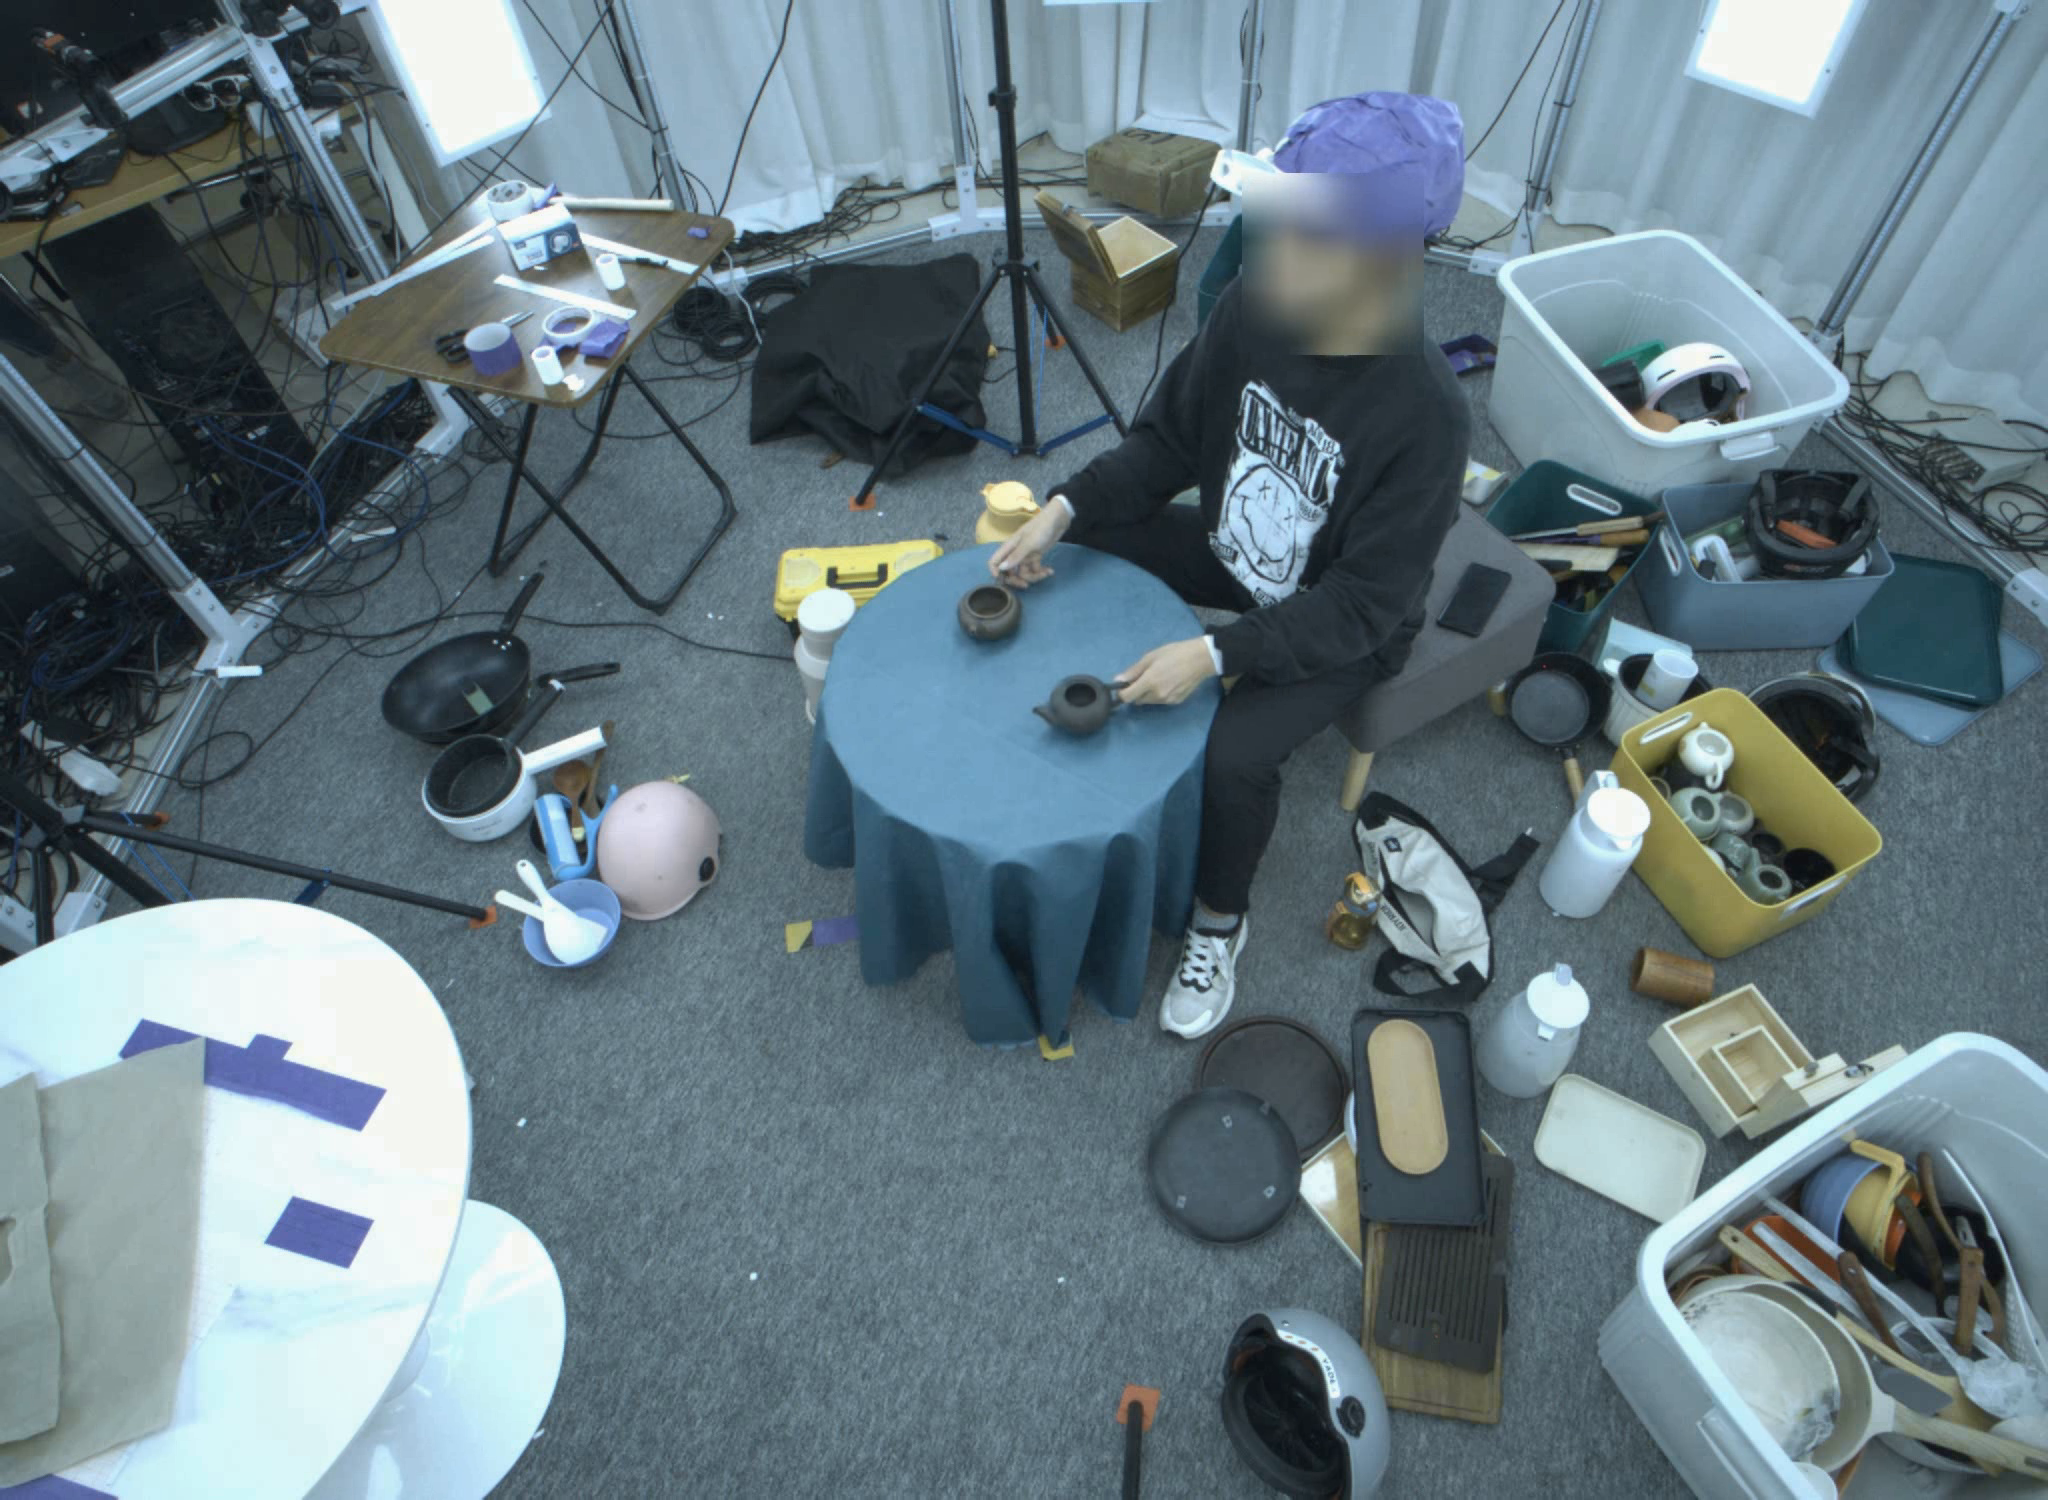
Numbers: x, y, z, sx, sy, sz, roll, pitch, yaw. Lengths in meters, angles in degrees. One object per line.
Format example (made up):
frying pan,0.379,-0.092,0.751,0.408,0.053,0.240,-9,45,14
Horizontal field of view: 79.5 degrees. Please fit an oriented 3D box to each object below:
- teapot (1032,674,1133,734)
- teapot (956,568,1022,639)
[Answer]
teapot,0.086,-0.067,1.789,0.155,0.065,0.091,-17,58,-9
teapot,-0.054,-0.222,1.909,0.102,0.054,0.153,11,56,7
